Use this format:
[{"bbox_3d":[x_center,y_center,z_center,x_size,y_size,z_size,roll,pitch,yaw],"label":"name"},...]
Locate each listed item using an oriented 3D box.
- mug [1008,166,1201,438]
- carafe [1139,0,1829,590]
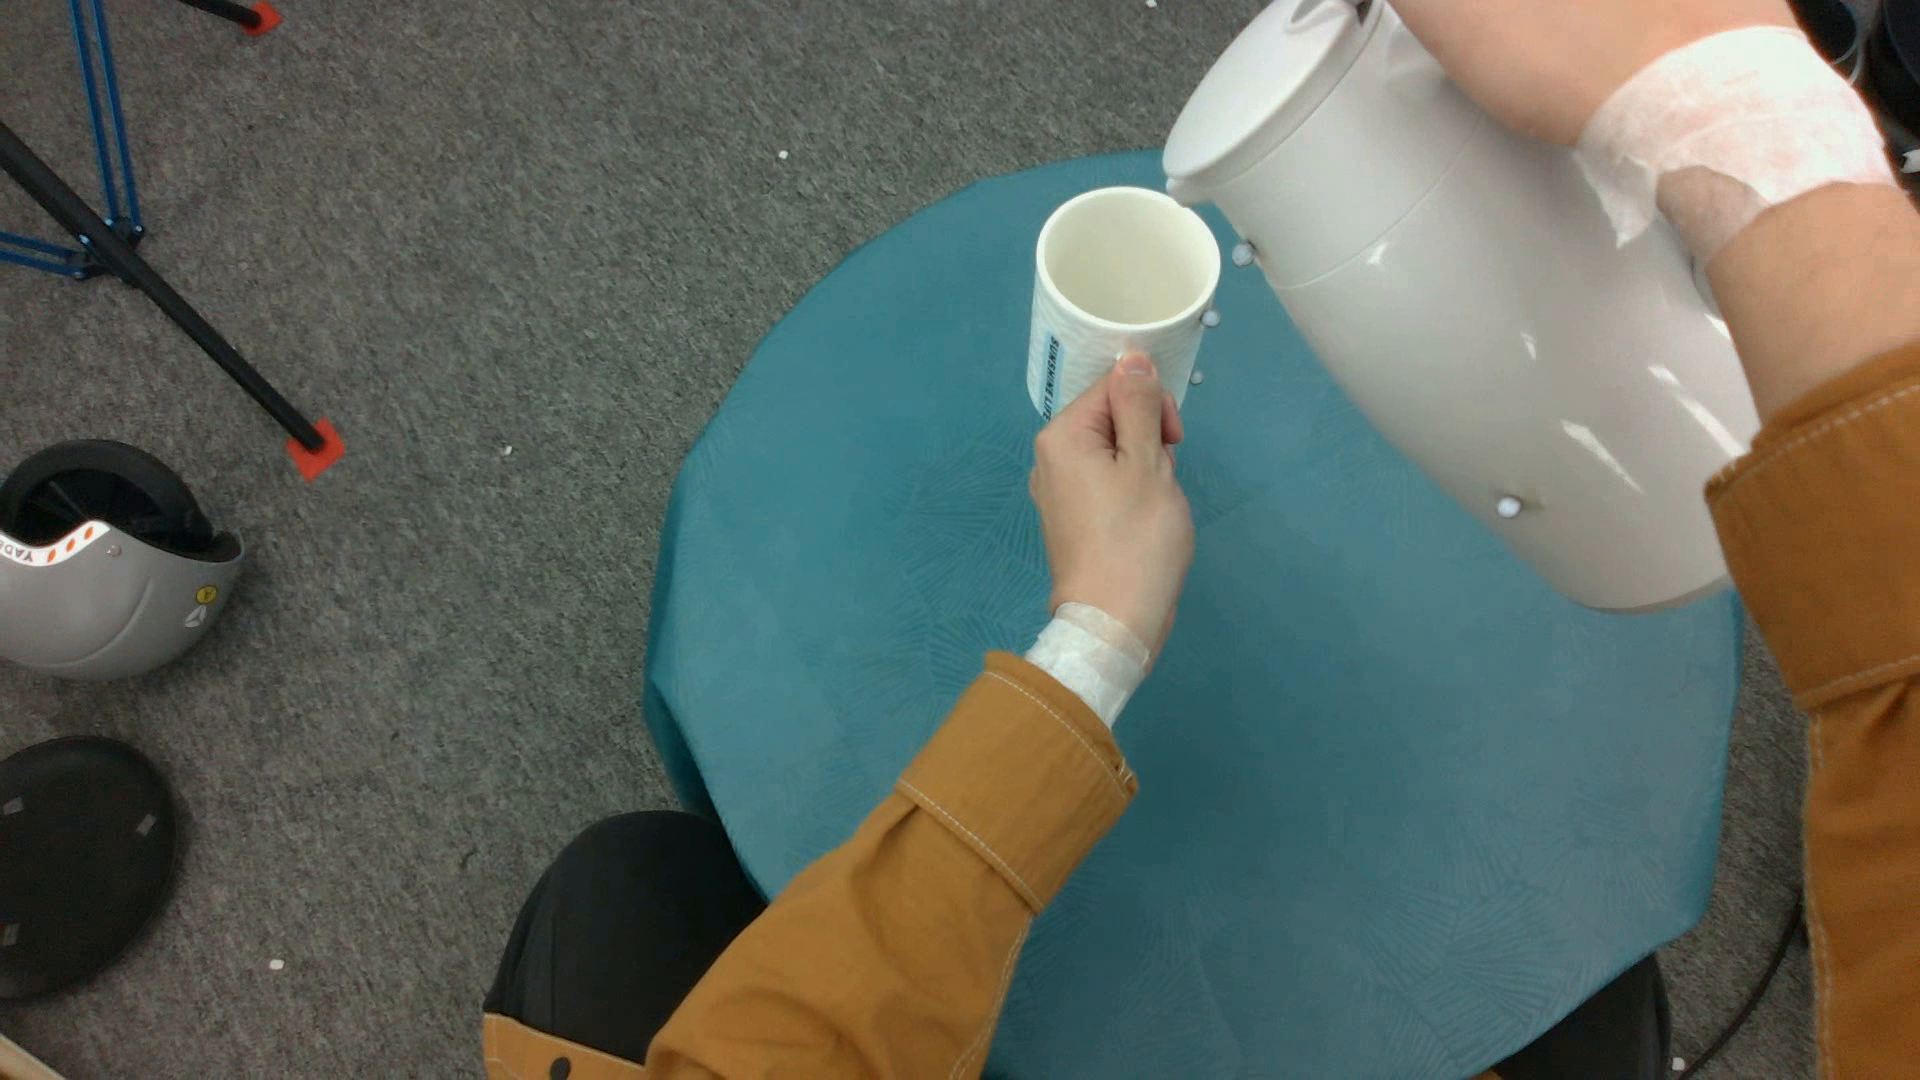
[{"bbox_3d":[0.069,-0.103,0.670,0.085,0.101,0.119,-3,59,-4],"label":"mug"},{"bbox_3d":[0.193,-0.109,0.493,0.248,0.167,0.133,37,60,-17],"label":"carafe"}]
